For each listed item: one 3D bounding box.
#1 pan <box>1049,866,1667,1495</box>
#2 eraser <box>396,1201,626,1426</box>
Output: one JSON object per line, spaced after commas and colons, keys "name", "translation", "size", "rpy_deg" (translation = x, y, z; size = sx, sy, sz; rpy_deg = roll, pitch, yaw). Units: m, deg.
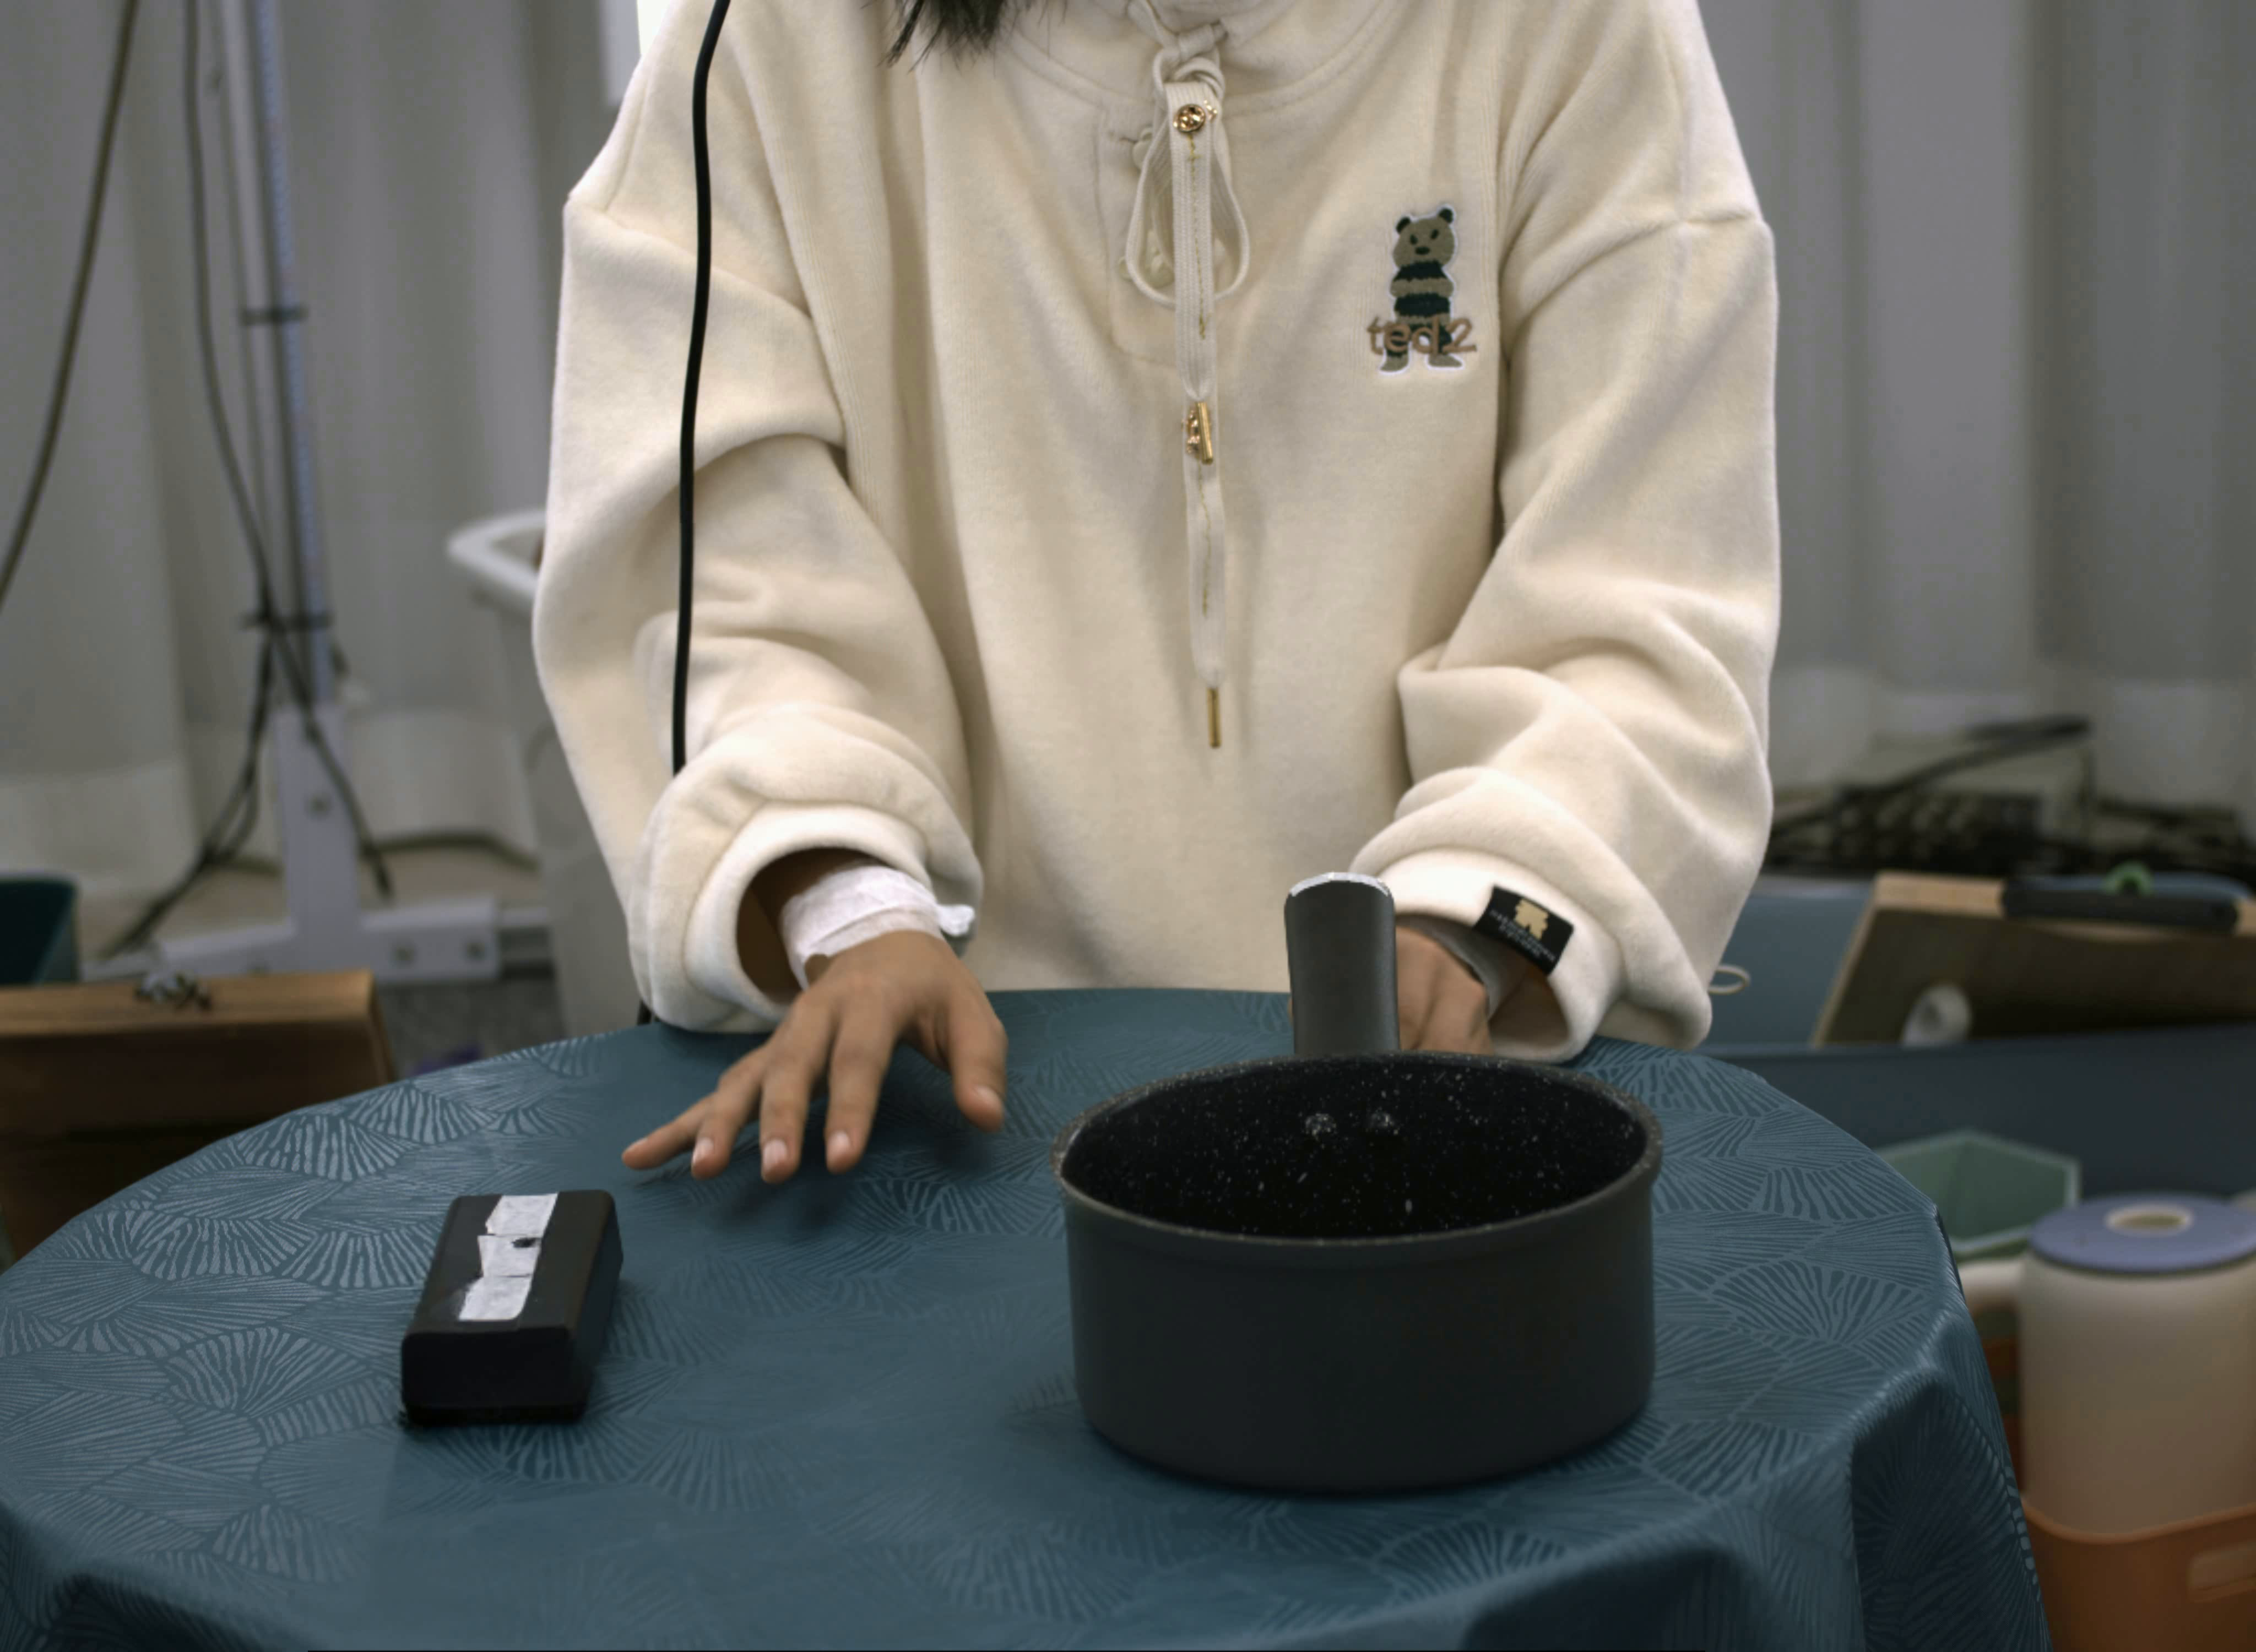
{"name": "pan", "translation": [0.069, 0.099, 1.597], "size": [0.171, 0.086, 0.331], "rpy_deg": [-1, 16, 4]}
{"name": "eraser", "translation": [-0.178, 0.142, 1.596], "size": [0.053, 0.030, 0.126], "rpy_deg": [-2, 14, 1]}
